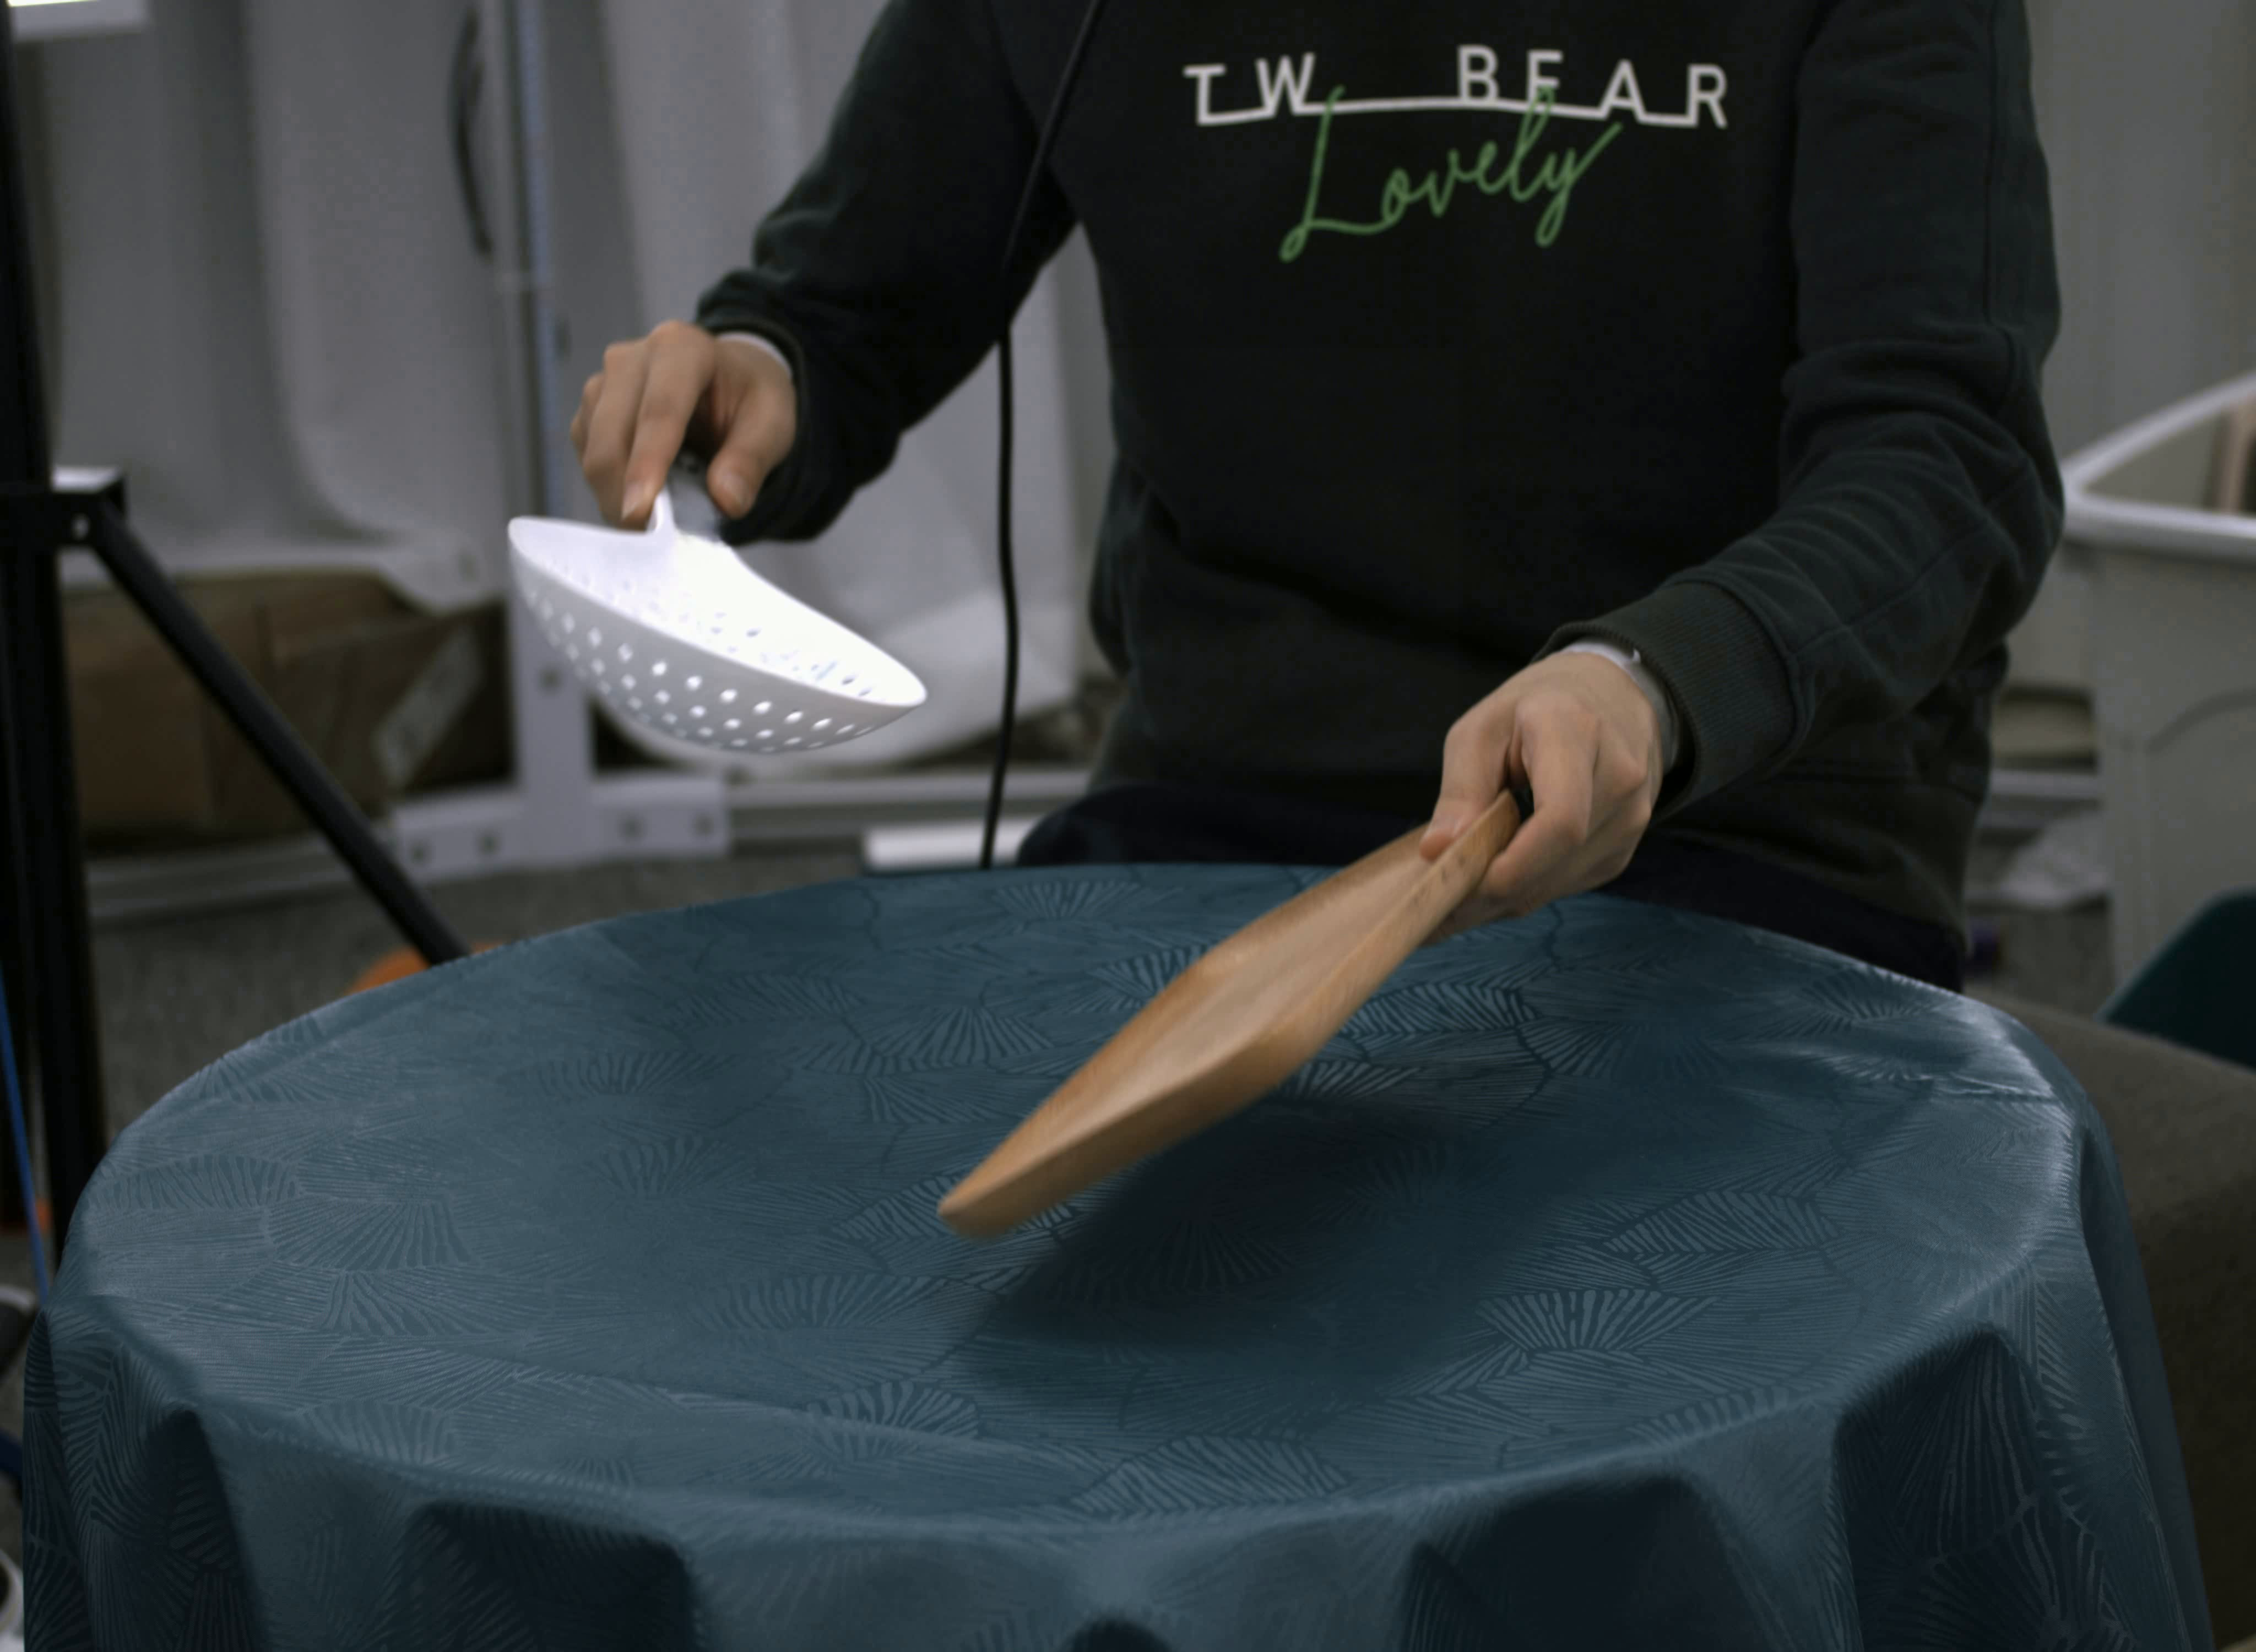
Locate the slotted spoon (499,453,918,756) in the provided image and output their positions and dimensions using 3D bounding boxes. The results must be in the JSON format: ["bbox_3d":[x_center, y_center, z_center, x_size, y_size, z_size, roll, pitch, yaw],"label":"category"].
[{"bbox_3d":[-0.140,-0.082,1.711,0.134,0.046,0.352,21,15,-10],"label":"slotted spoon"}]

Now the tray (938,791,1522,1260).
[{"bbox_3d":[0.035,0.056,1.529,0.132,0.023,0.247,-28,5,27],"label":"tray"}]
